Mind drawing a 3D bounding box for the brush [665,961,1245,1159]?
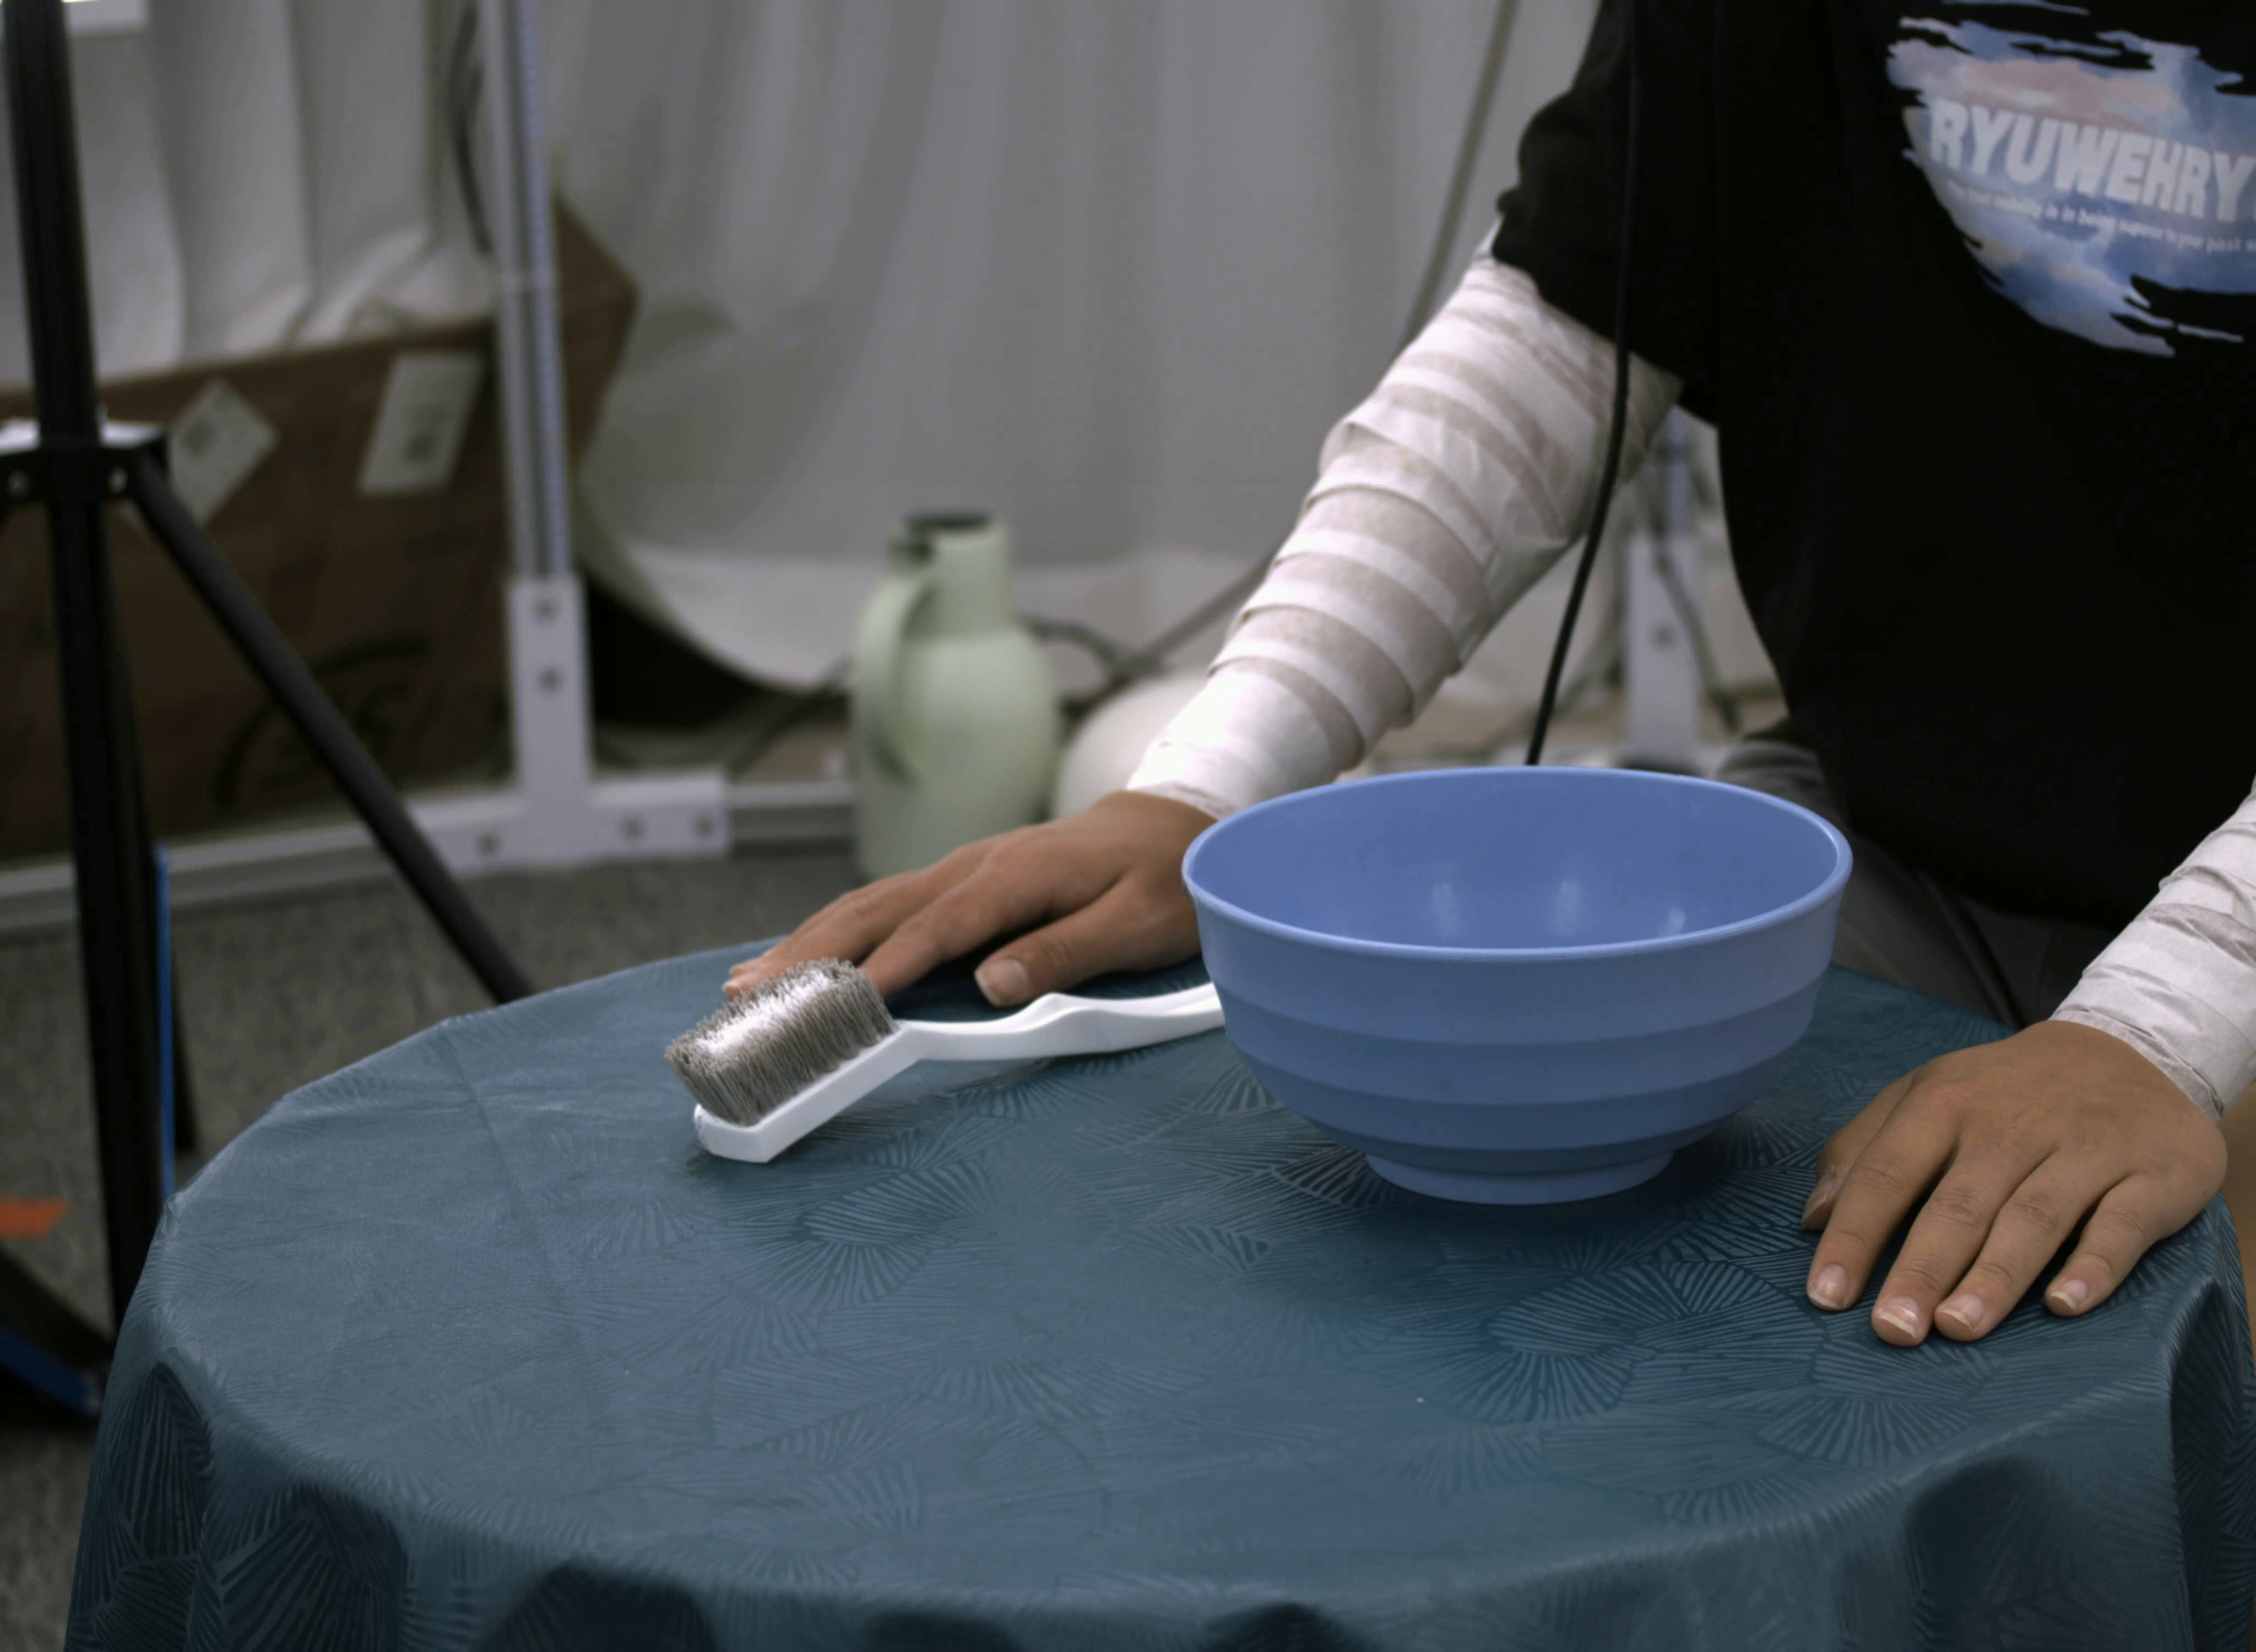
[{"bbox_3d":[-0.036,0.055,1.661,0.238,0.050,0.035,-13,16,-33],"label":"brush"}]

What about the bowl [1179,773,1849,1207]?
[{"bbox_3d":[0.114,0.053,1.564,0.195,0.095,0.197,-3,15,-1],"label":"bowl"}]
